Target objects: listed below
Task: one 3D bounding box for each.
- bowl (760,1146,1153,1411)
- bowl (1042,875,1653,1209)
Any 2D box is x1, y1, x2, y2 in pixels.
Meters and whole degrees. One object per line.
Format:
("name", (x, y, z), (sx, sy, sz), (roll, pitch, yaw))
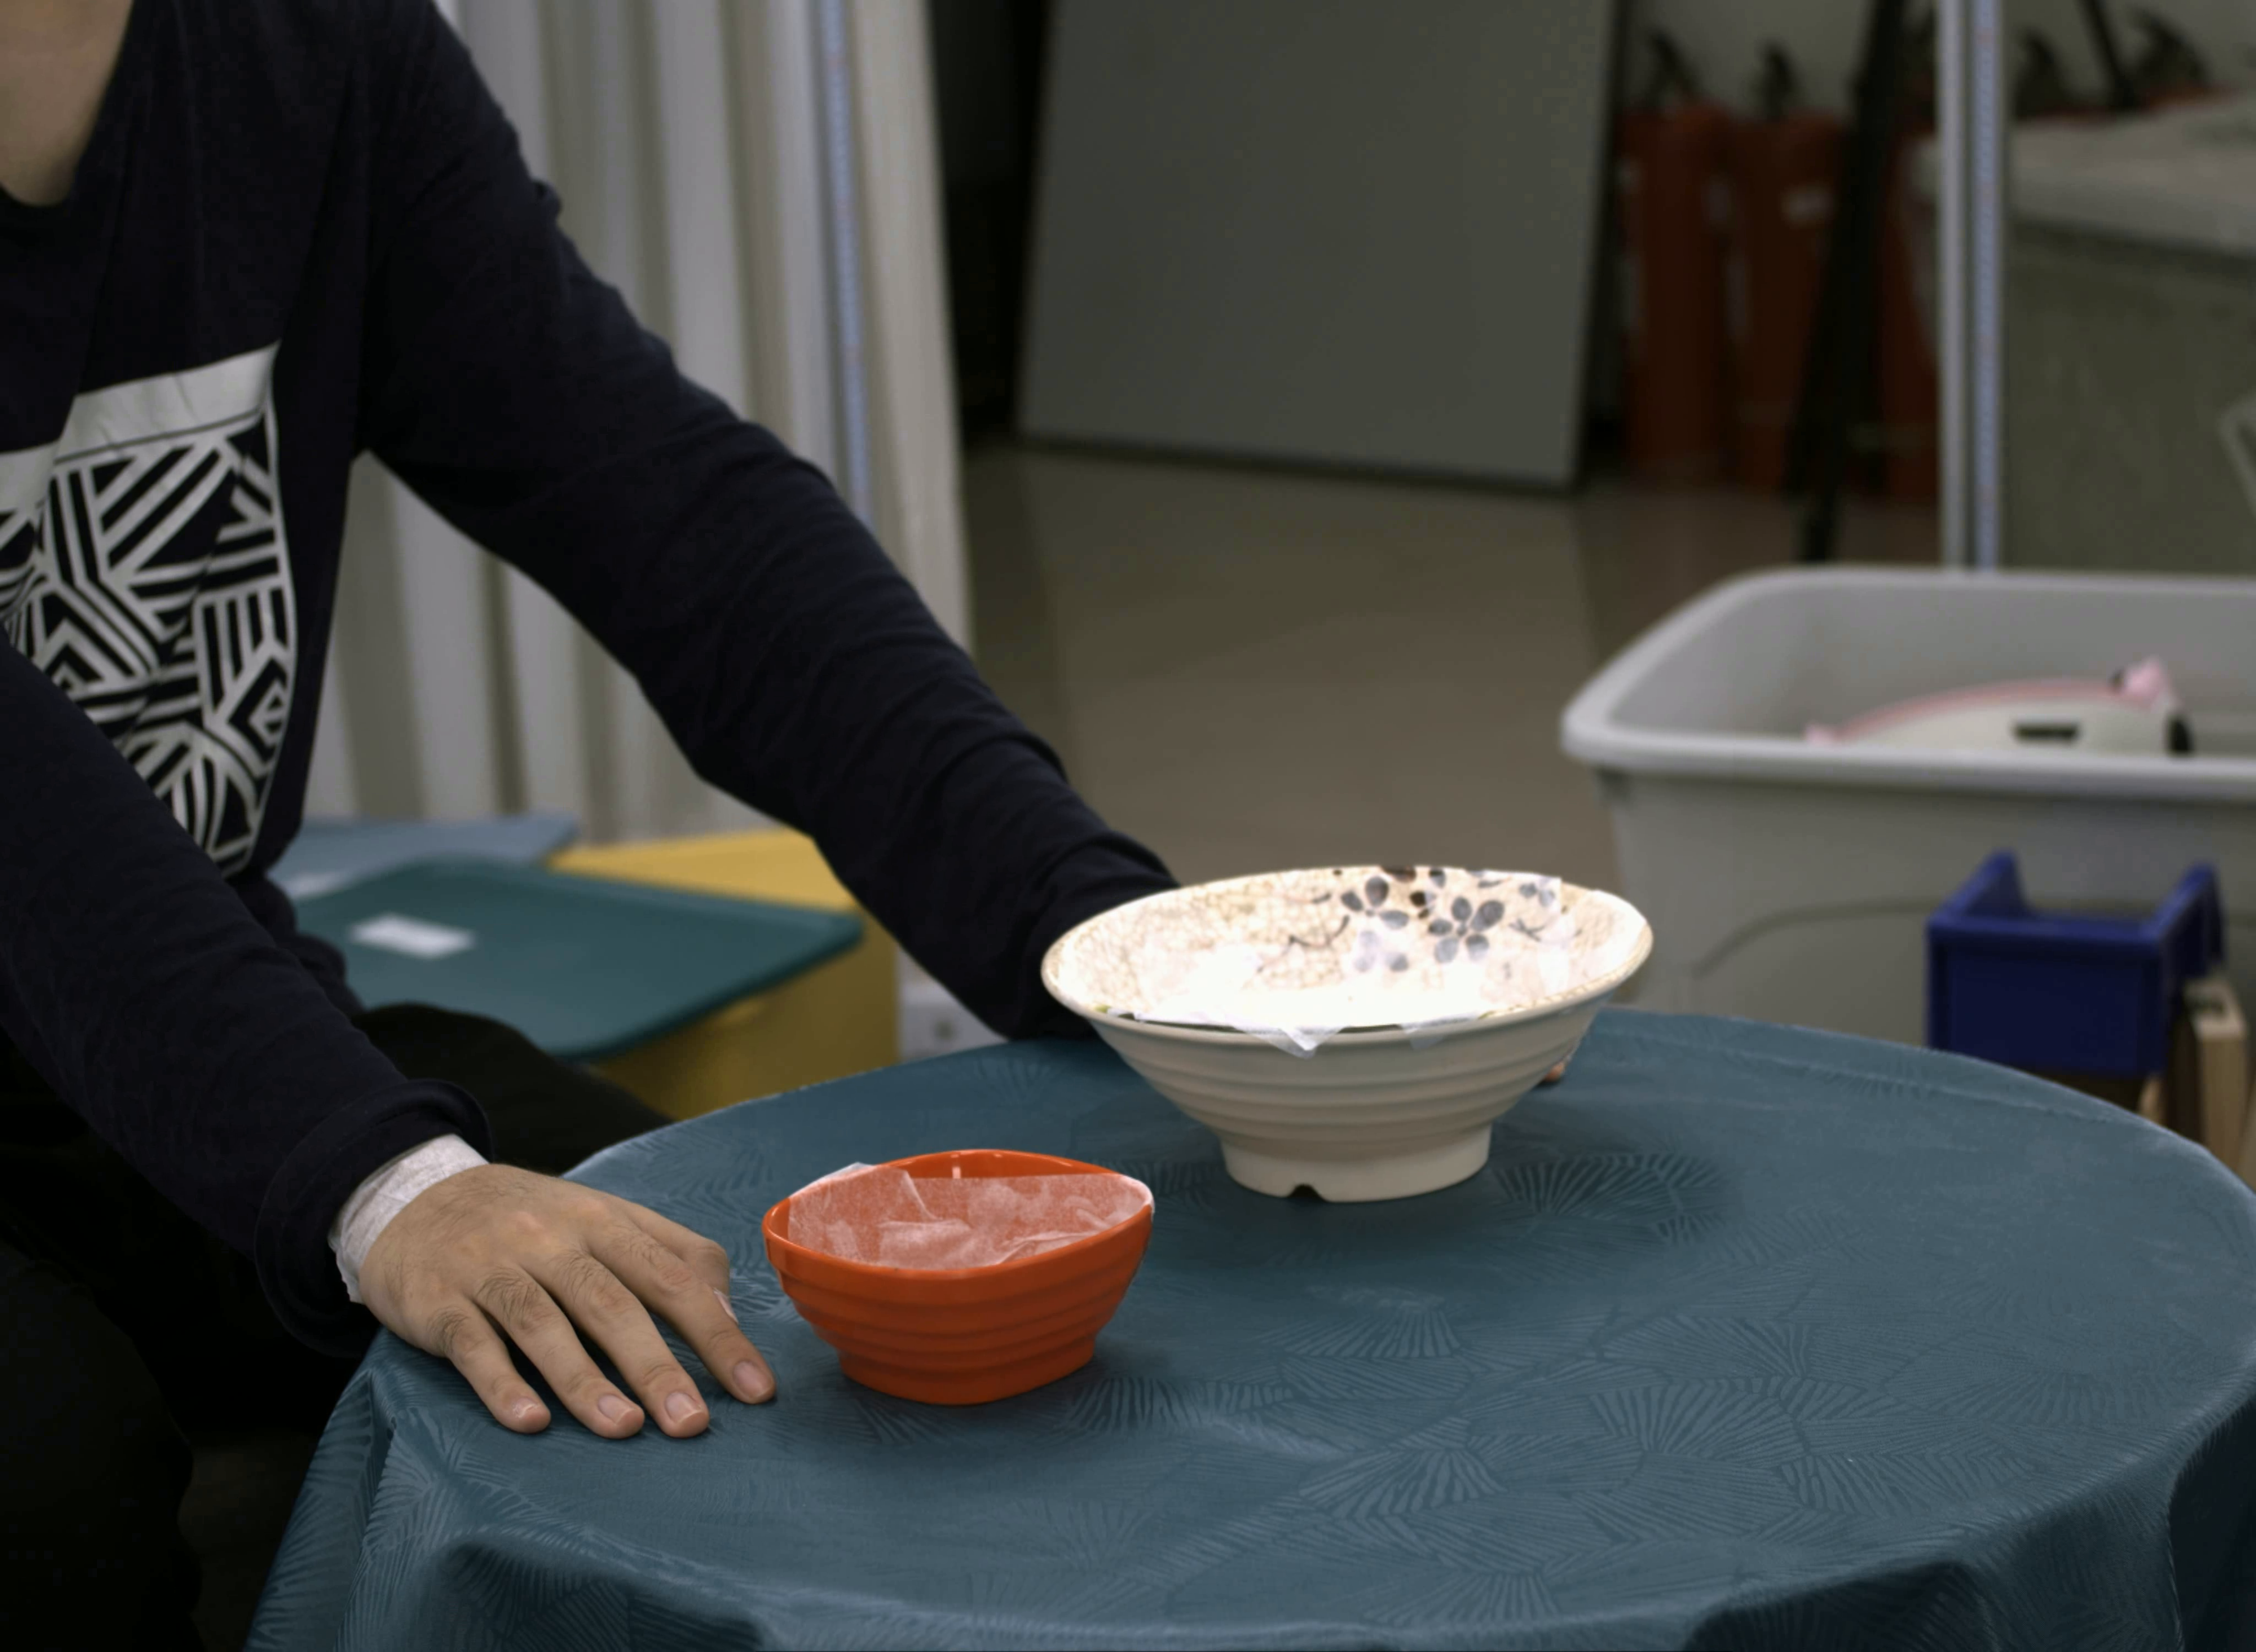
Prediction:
("bowl", (-0.049, 0.137, 1.614), (0.117, 0.052, 0.119), (-5, 14, 0))
("bowl", (0.074, 0.077, 1.776), (0.201, 0.079, 0.204), (-4, 13, 0))
